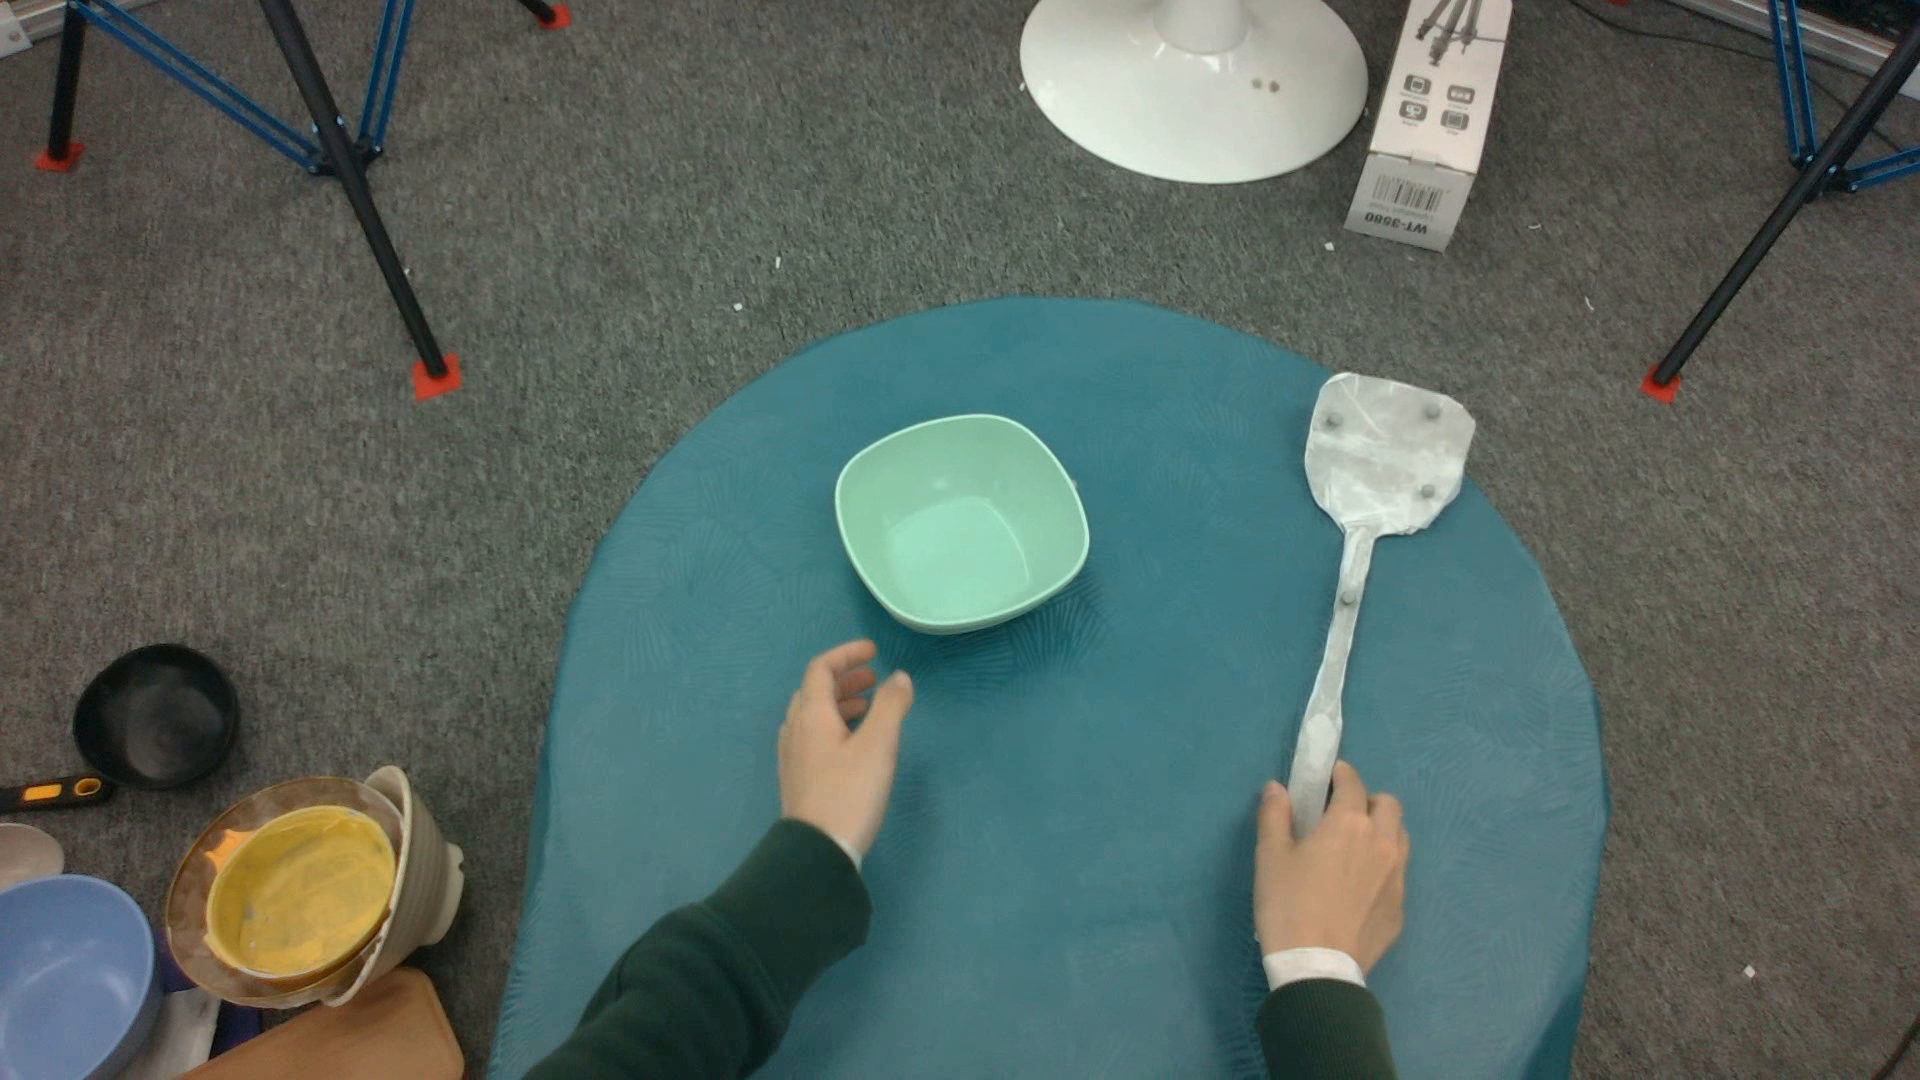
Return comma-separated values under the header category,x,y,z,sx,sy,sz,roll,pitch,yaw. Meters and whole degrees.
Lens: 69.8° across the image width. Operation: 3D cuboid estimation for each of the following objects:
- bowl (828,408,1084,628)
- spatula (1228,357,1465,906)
category,x,y,z,sx,sy,sz,roll,pitch,yaw
bowl,-0.004,-0.004,0.811,0.151,0.058,0.152,1,56,-1
spatula,0.216,0.043,0.802,0.098,0.044,0.366,19,58,7
